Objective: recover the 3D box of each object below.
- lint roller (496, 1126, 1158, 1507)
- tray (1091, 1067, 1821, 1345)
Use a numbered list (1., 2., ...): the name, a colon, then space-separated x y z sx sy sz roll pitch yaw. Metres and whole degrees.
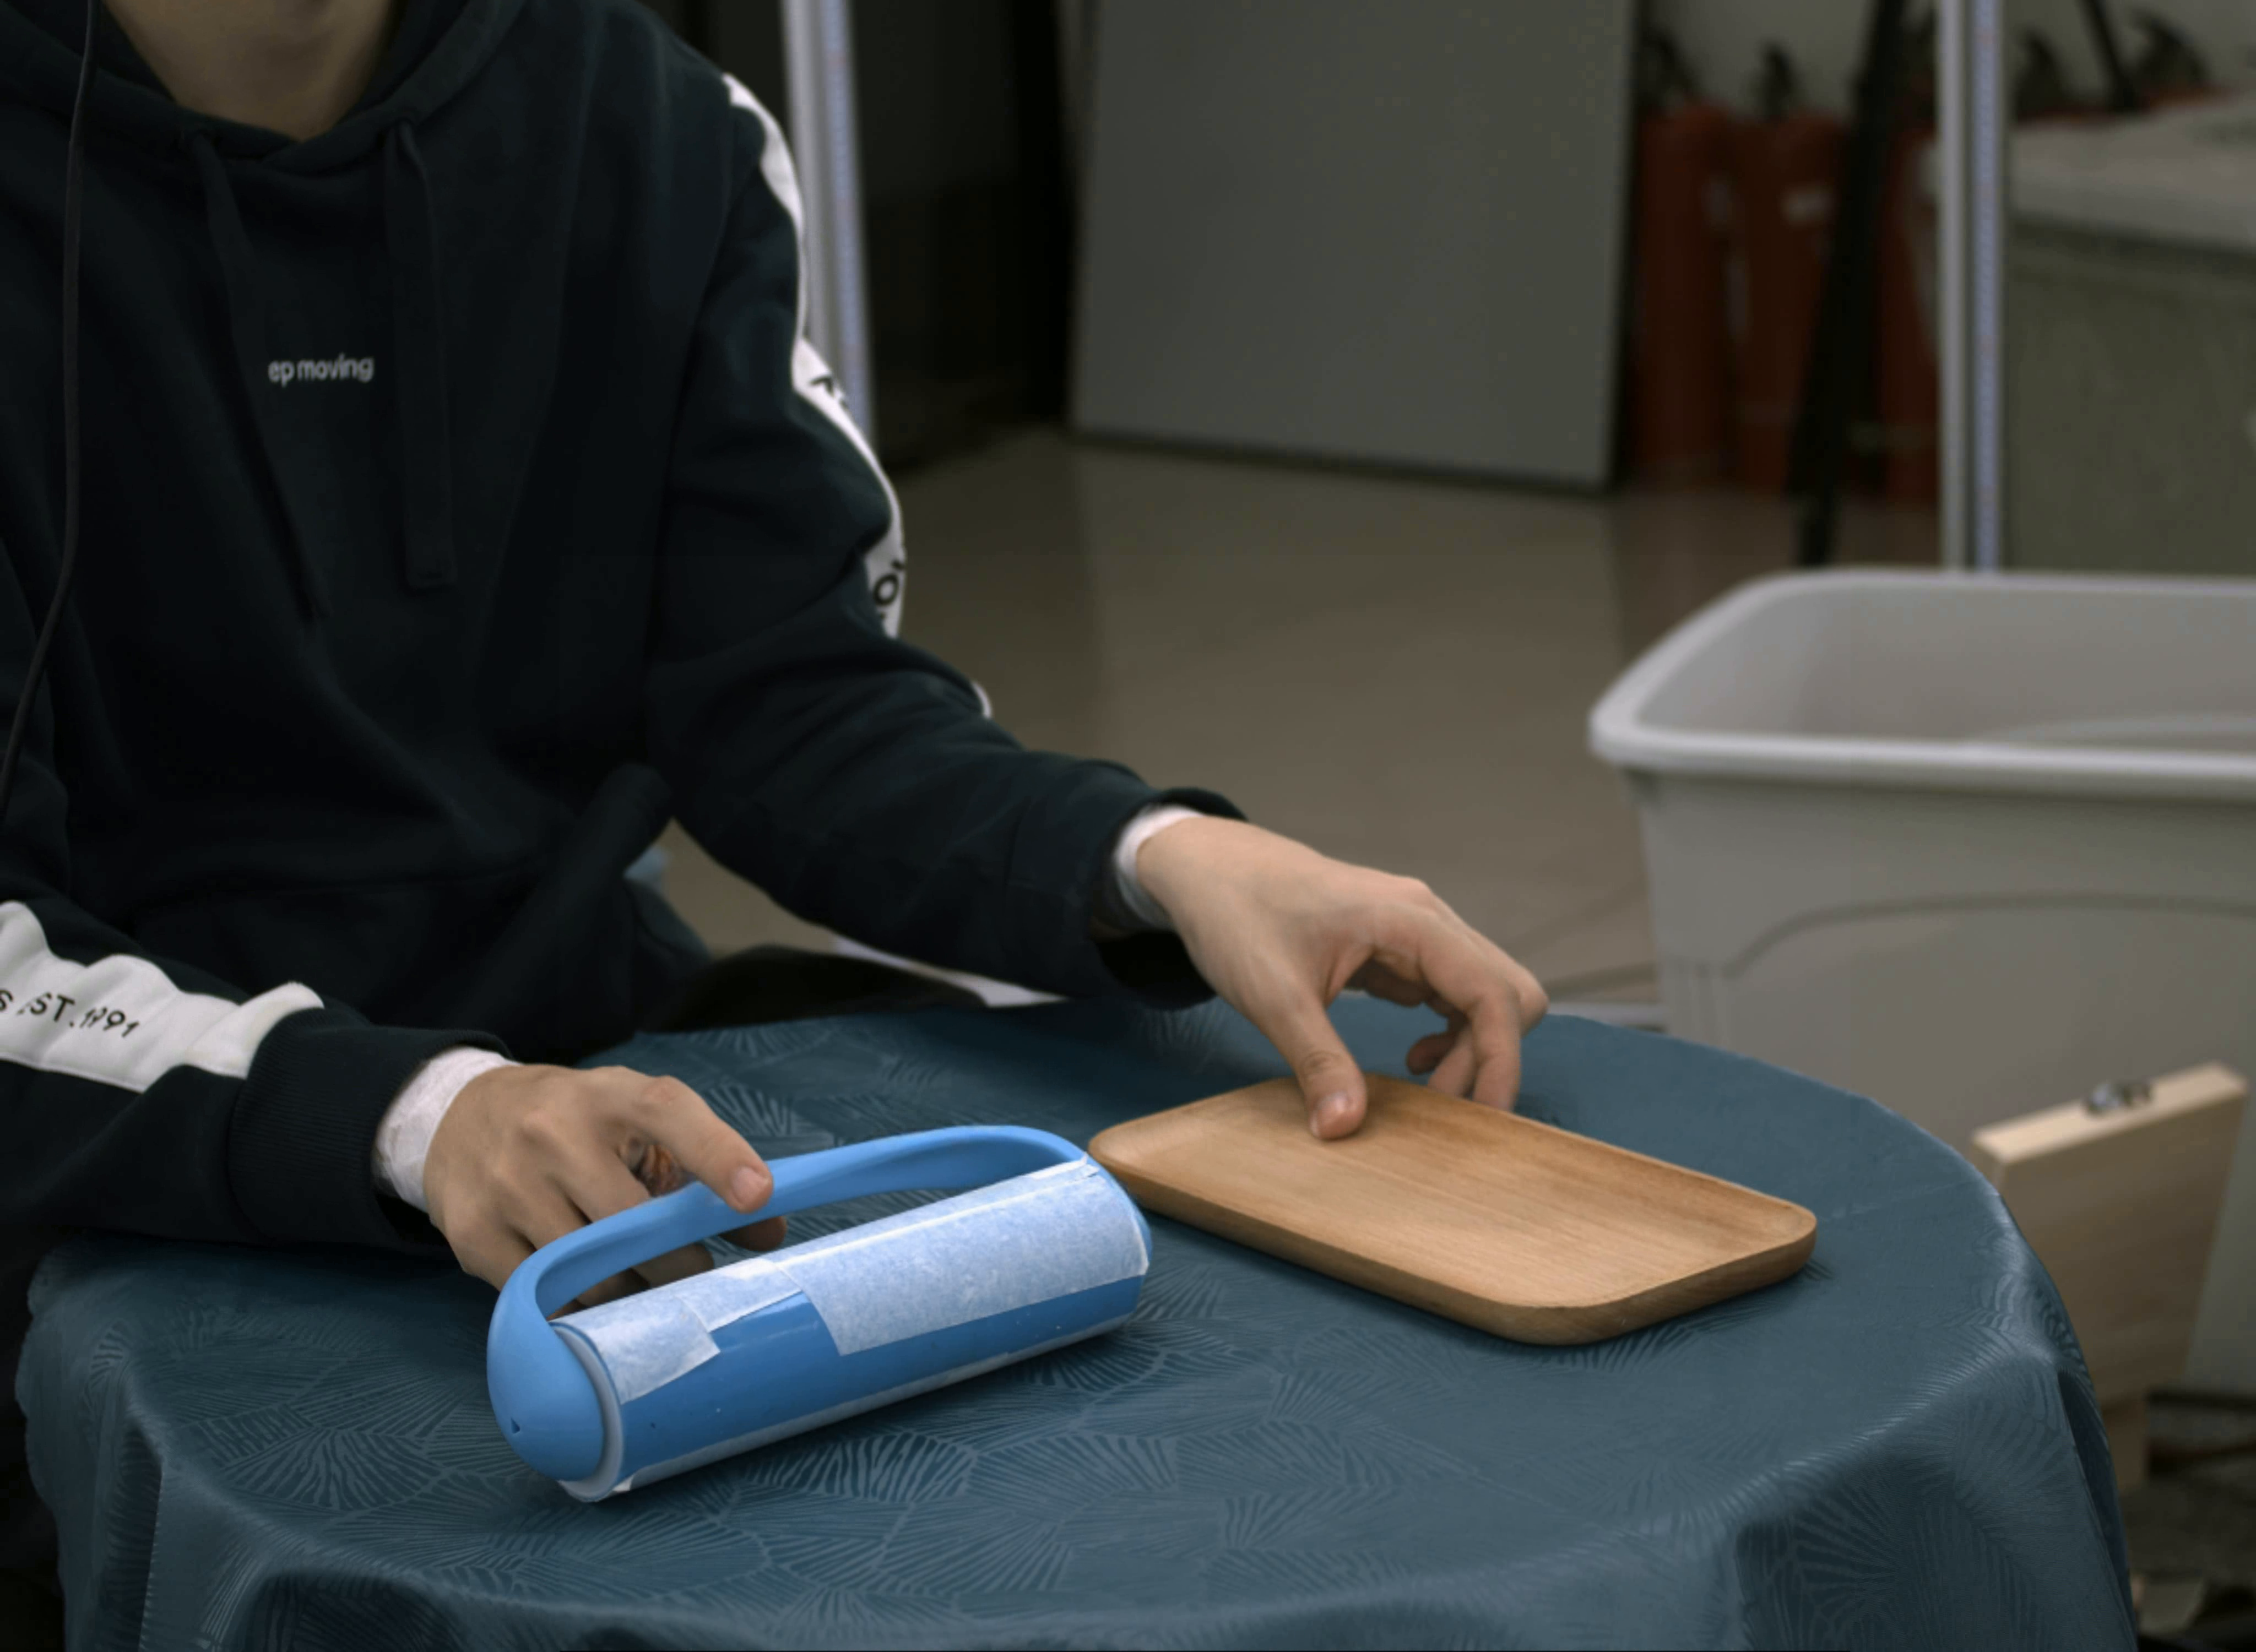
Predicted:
1. lint roller: -0.122 0.136 1.624 0.224 0.068 0.182 -17 20 -38
2. tray: 0.101 0.119 1.715 0.127 0.023 0.253 -11 15 -34
